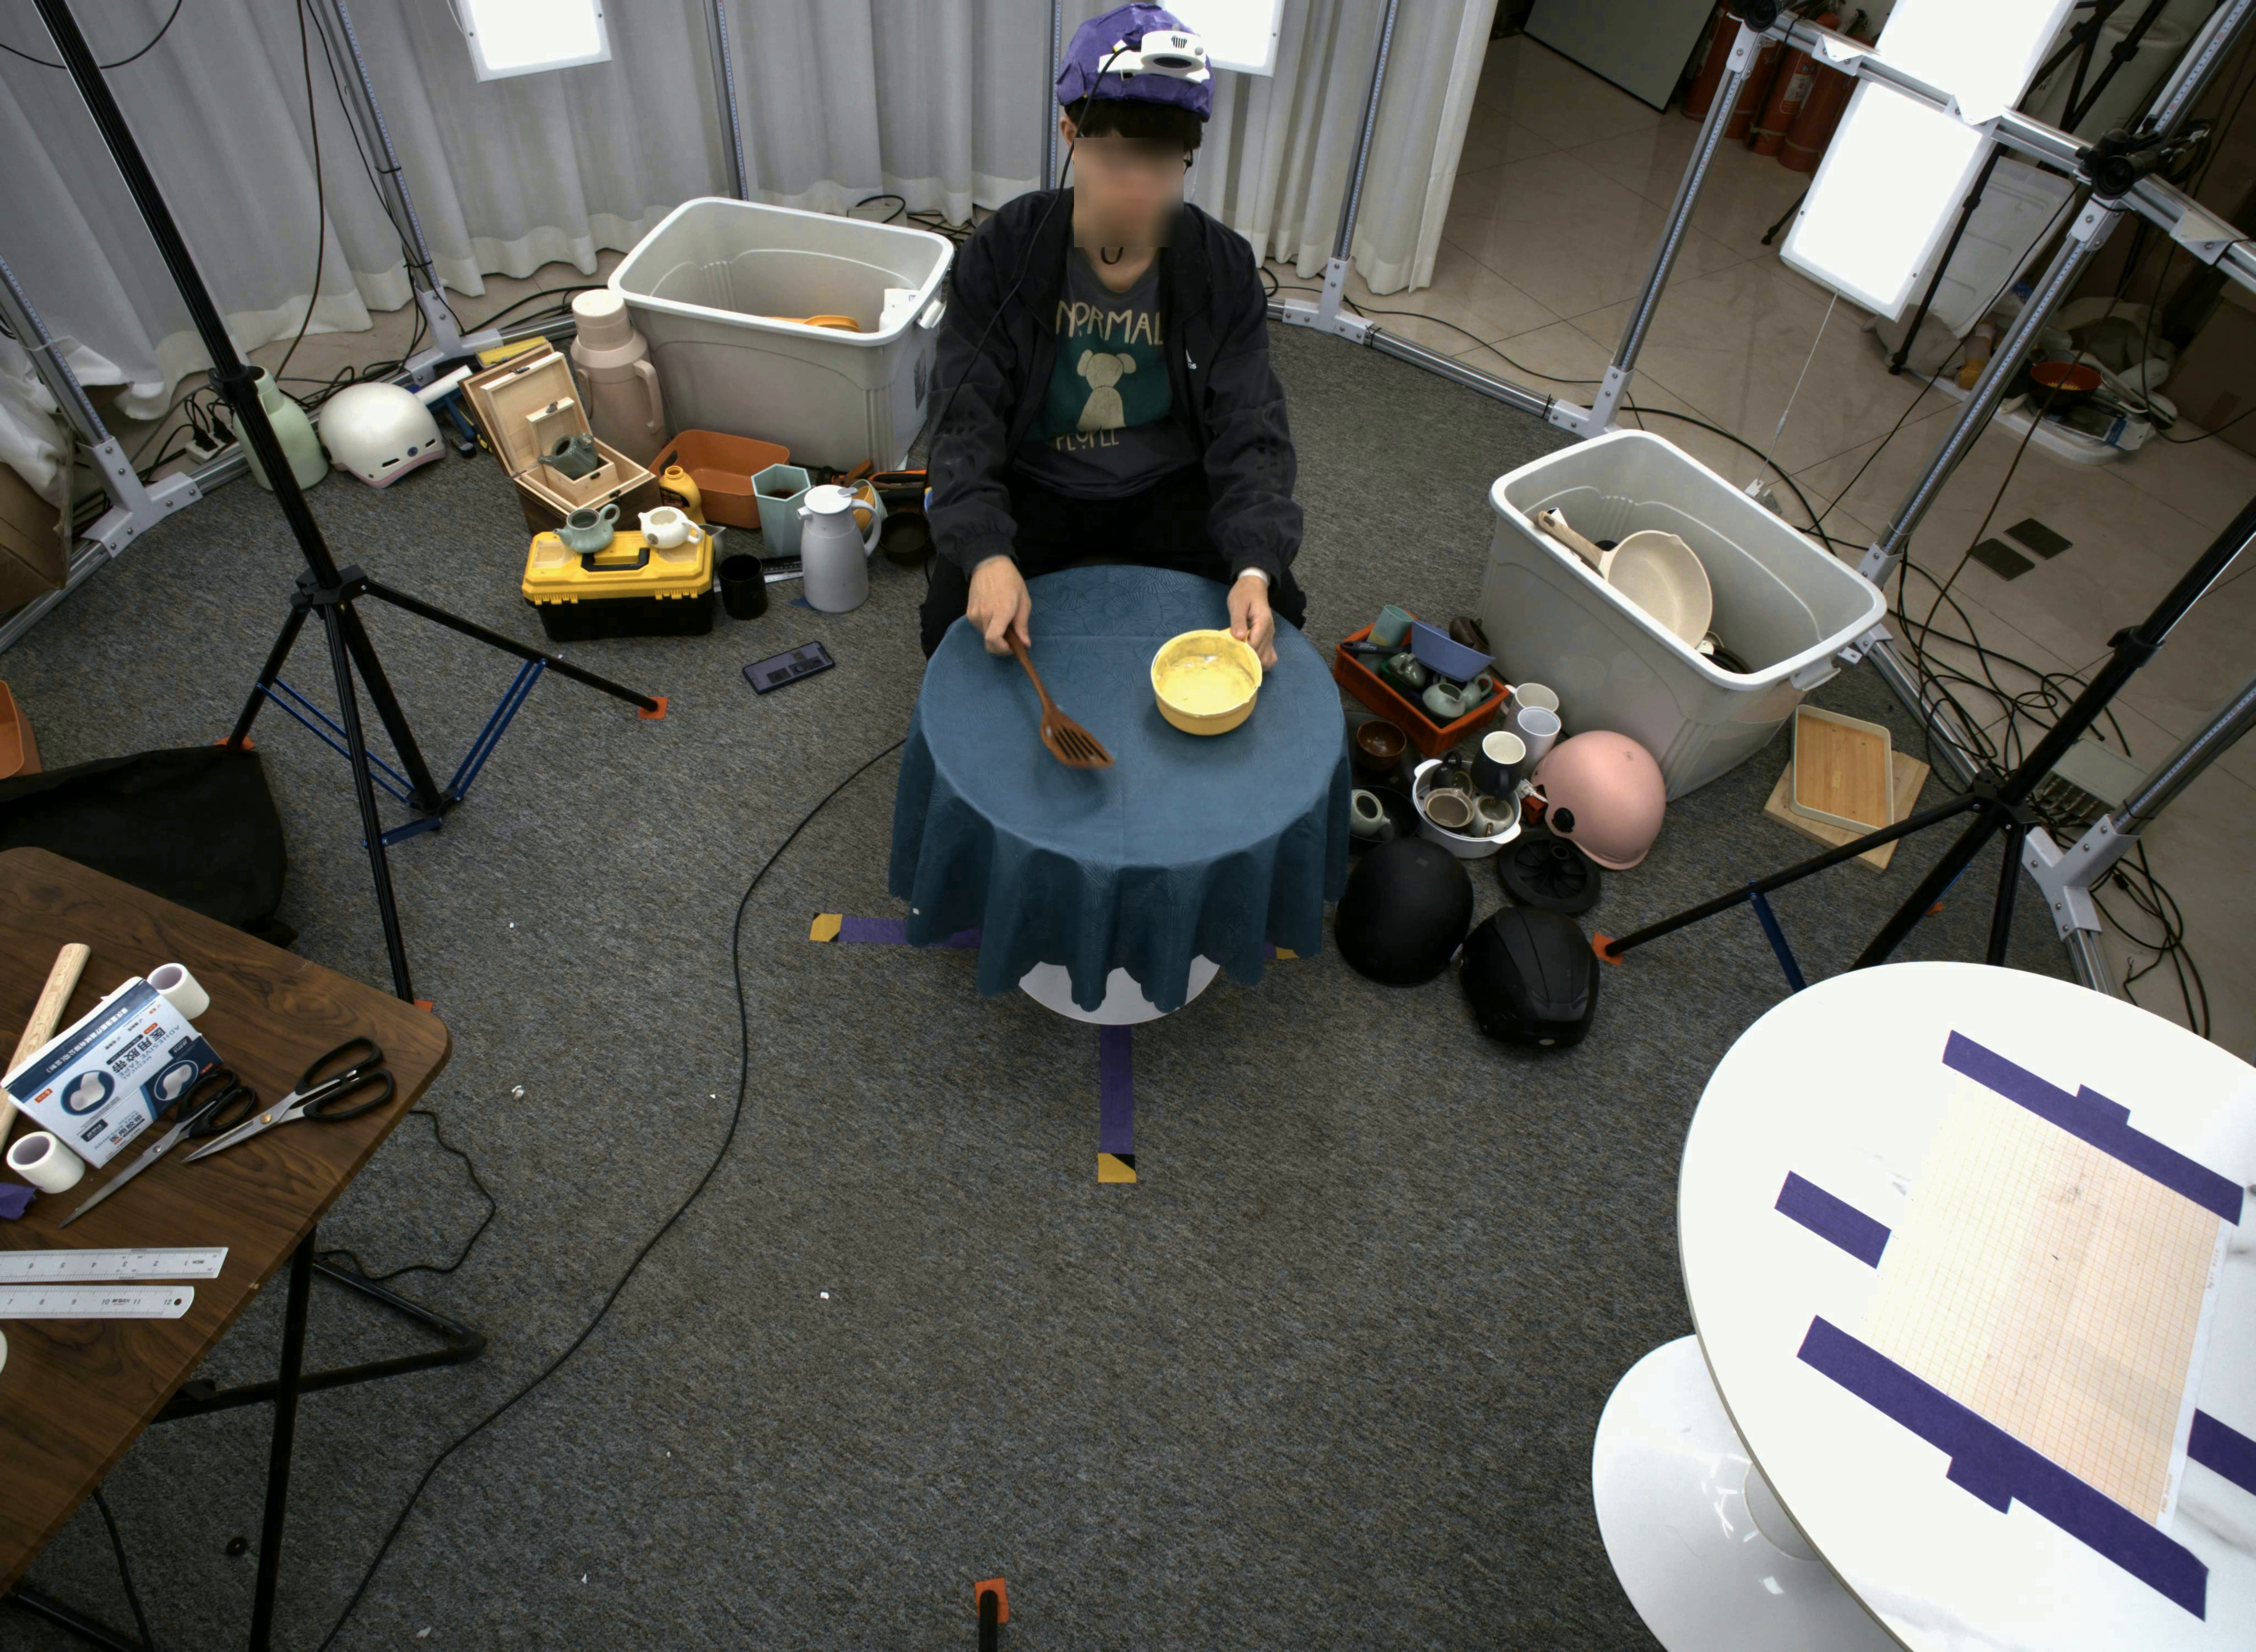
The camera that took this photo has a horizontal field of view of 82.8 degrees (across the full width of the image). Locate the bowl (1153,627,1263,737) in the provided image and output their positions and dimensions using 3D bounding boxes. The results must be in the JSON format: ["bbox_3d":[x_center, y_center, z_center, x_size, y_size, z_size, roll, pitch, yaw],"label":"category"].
[{"bbox_3d":[0.118,-0.203,1.802,0.154,0.072,0.182,23,58,18],"label":"bowl"}]

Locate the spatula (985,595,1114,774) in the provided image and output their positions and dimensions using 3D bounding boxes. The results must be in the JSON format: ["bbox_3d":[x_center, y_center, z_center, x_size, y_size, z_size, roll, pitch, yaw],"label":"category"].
[{"bbox_3d":[-0.127,-0.200,1.785,0.085,0.023,0.396,-5,47,-30],"label":"spatula"}]
